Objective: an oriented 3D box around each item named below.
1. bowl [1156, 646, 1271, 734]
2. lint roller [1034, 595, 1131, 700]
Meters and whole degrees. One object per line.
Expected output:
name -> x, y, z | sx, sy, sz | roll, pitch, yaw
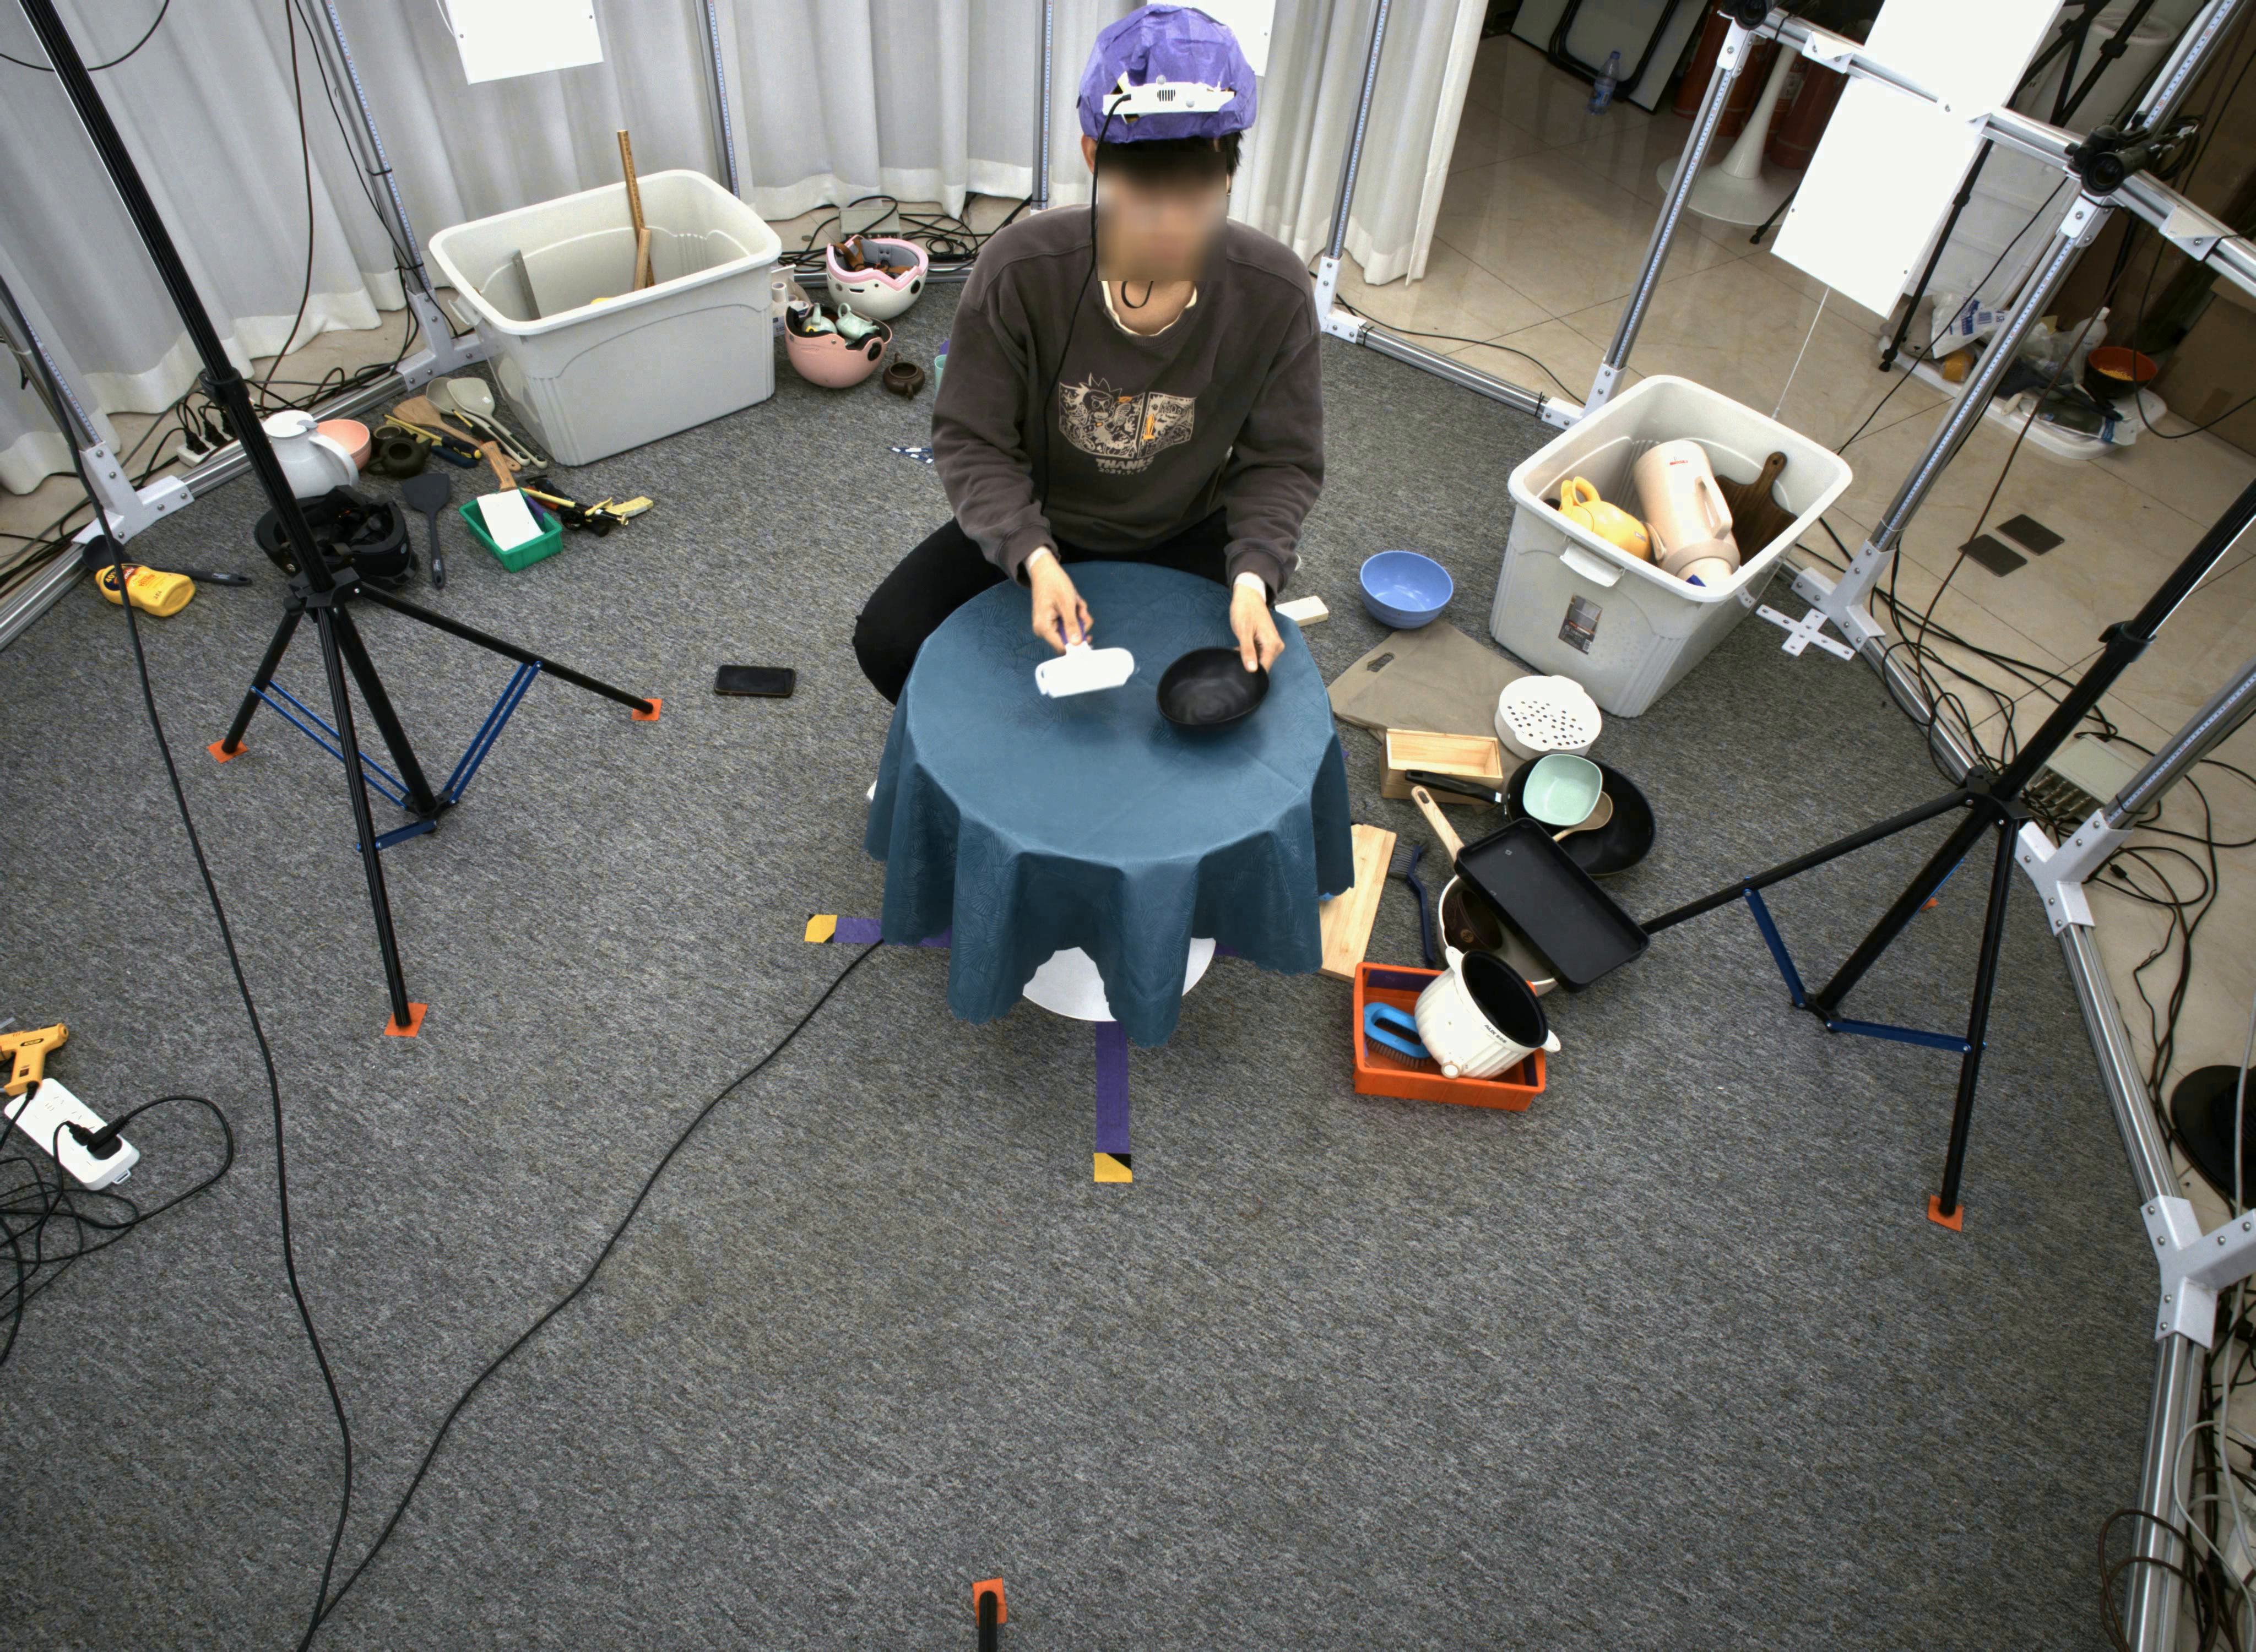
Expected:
bowl -> 0.117, -0.176, 1.785 | 0.171, 0.065, 0.140 | -30, 56, -24
lint roller -> -0.073, -0.258, 1.772 | 0.133, 0.049, 0.185 | -8, 62, -8
